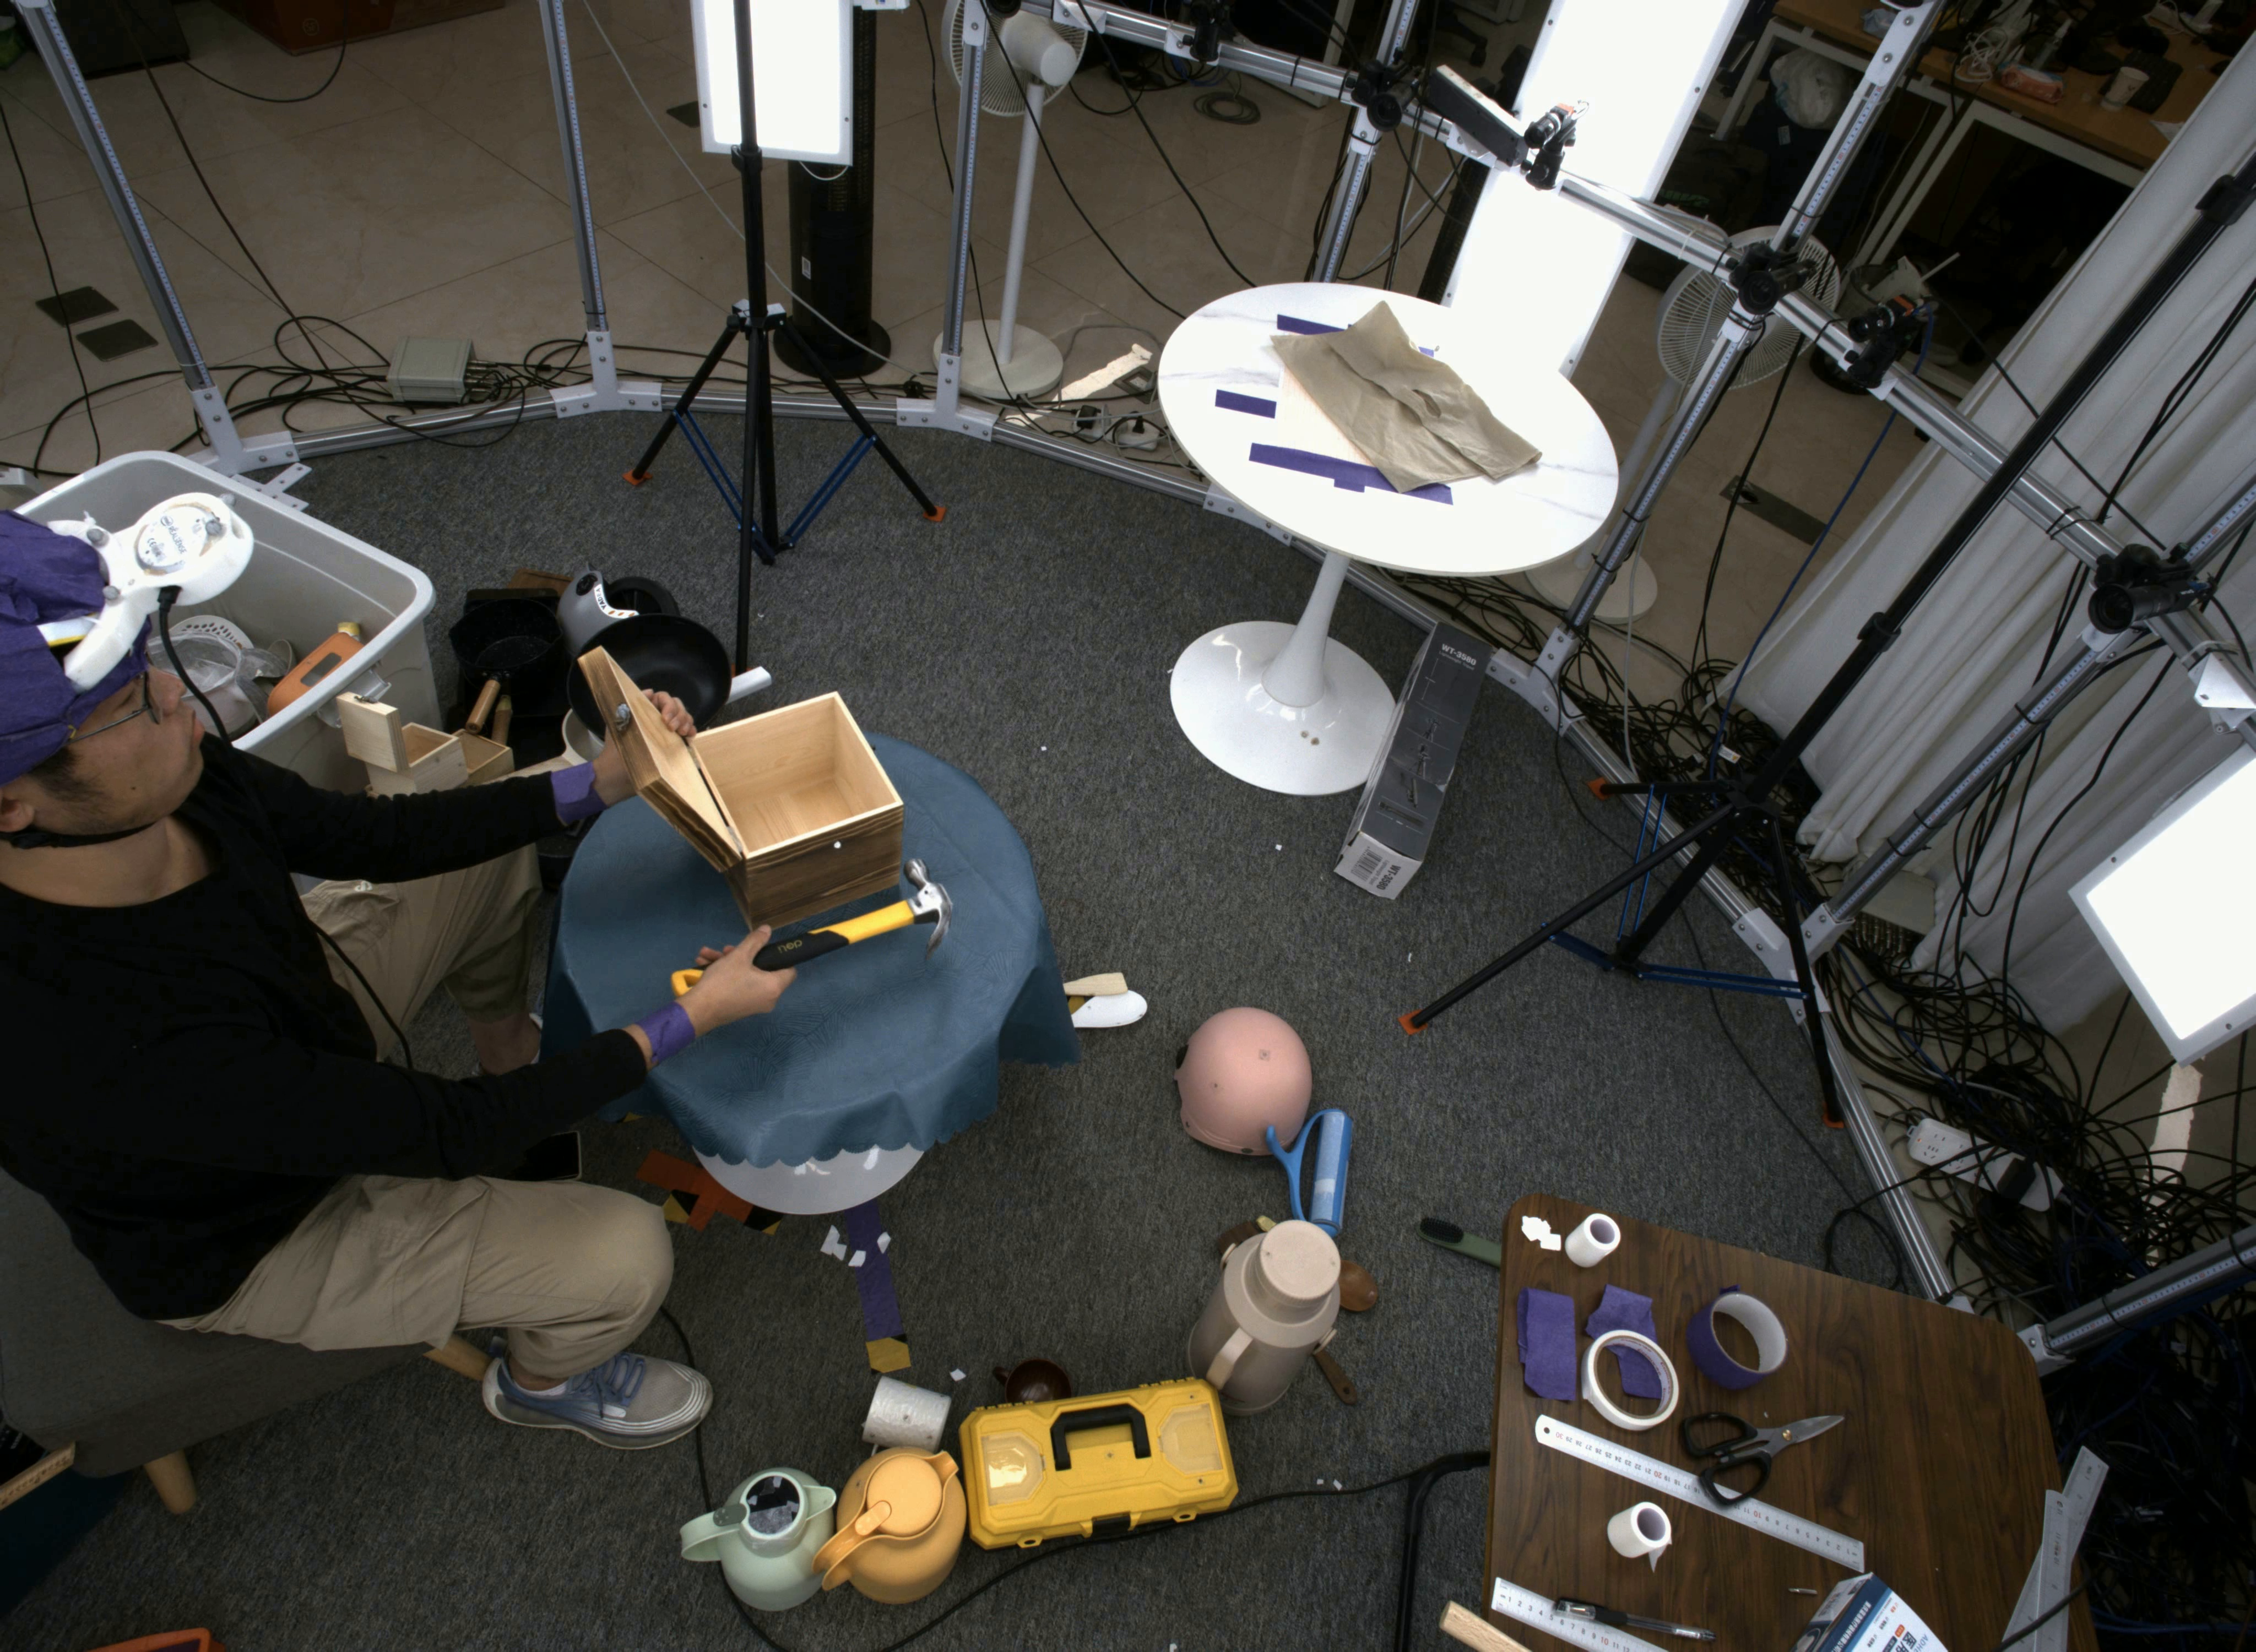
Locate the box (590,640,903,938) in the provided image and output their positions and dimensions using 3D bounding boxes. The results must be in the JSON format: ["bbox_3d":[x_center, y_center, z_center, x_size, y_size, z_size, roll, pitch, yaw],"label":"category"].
[{"bbox_3d":[-0.447,-0.060,1.529,0.323,0.383,0.203,-22,60,-25],"label":"box"}]

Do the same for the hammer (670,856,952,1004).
[{"bbox_3d":[-0.363,0.131,1.508,0.340,0.033,0.127,-18,54,-28],"label":"hammer"}]
